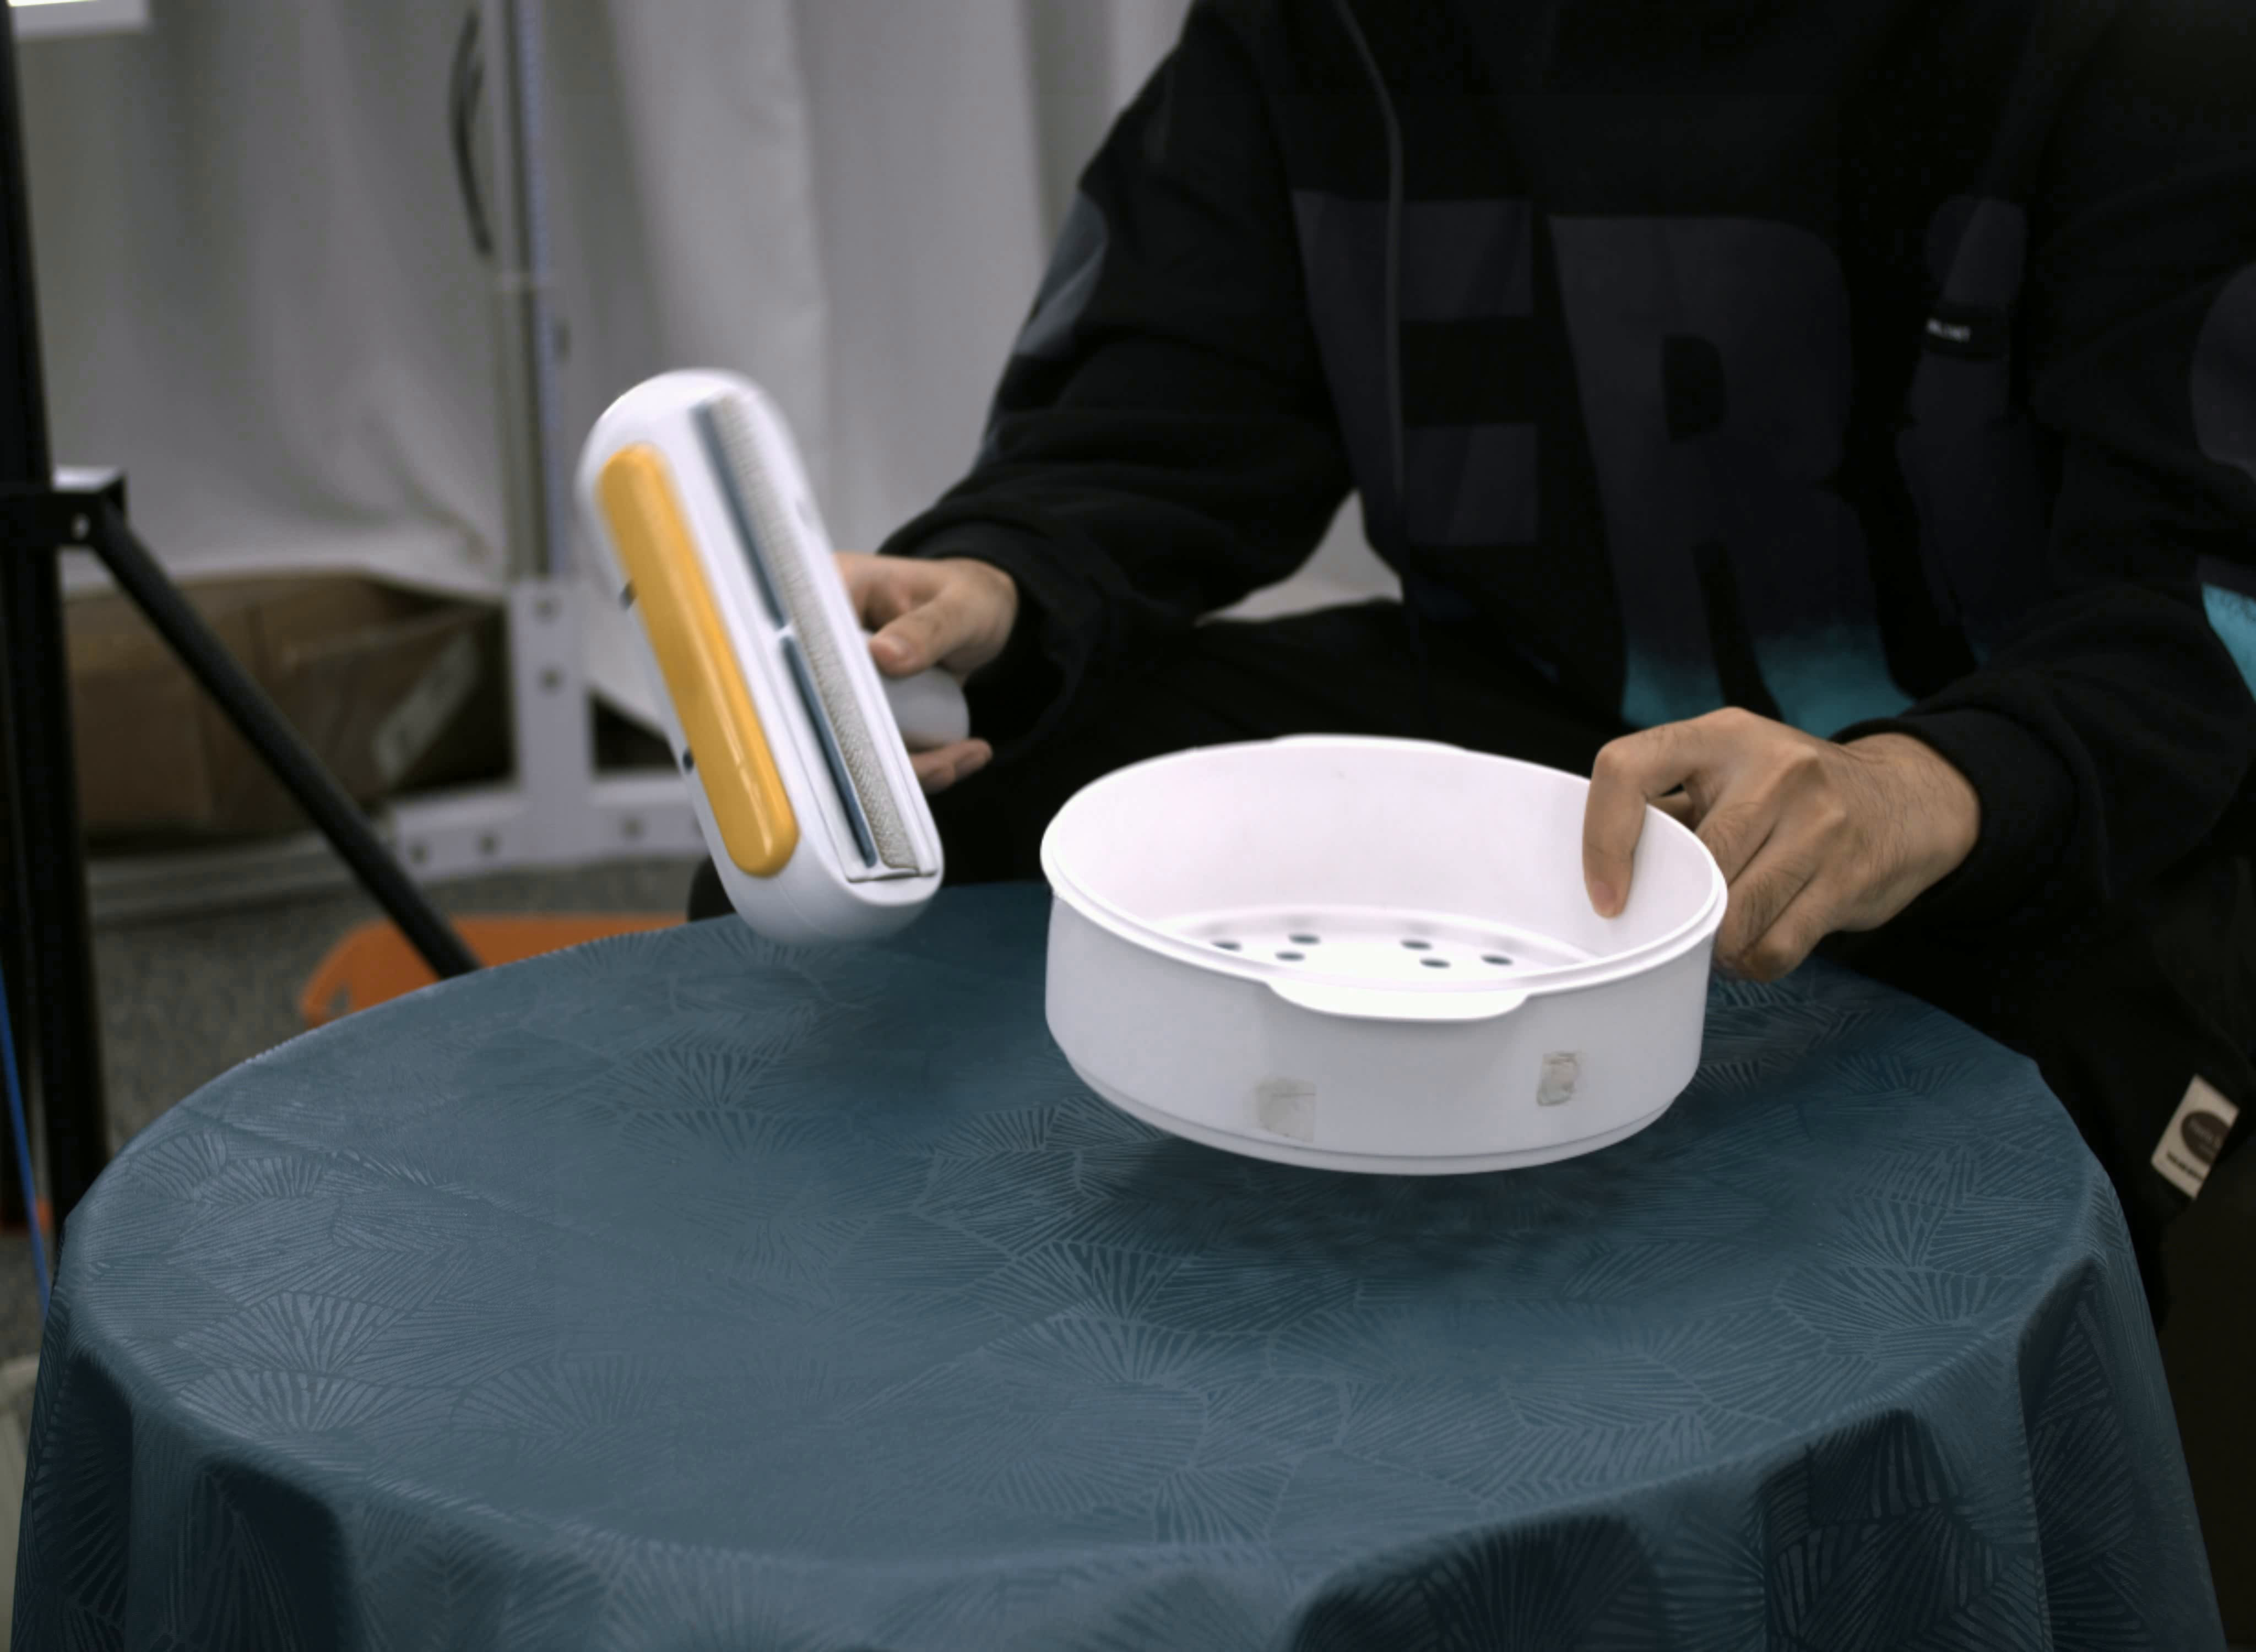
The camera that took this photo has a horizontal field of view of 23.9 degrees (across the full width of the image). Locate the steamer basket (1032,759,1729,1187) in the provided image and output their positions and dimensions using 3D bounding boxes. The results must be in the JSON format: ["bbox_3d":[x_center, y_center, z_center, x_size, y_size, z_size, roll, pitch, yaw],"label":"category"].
[{"bbox_3d":[0.072,0.043,1.549,0.201,0.069,0.231,5,18,-1],"label":"steamer basket"}]

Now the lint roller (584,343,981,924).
[{"bbox_3d":[-0.093,-0.052,1.741,0.075,0.195,0.188,-30,-21,26],"label":"lint roller"}]
